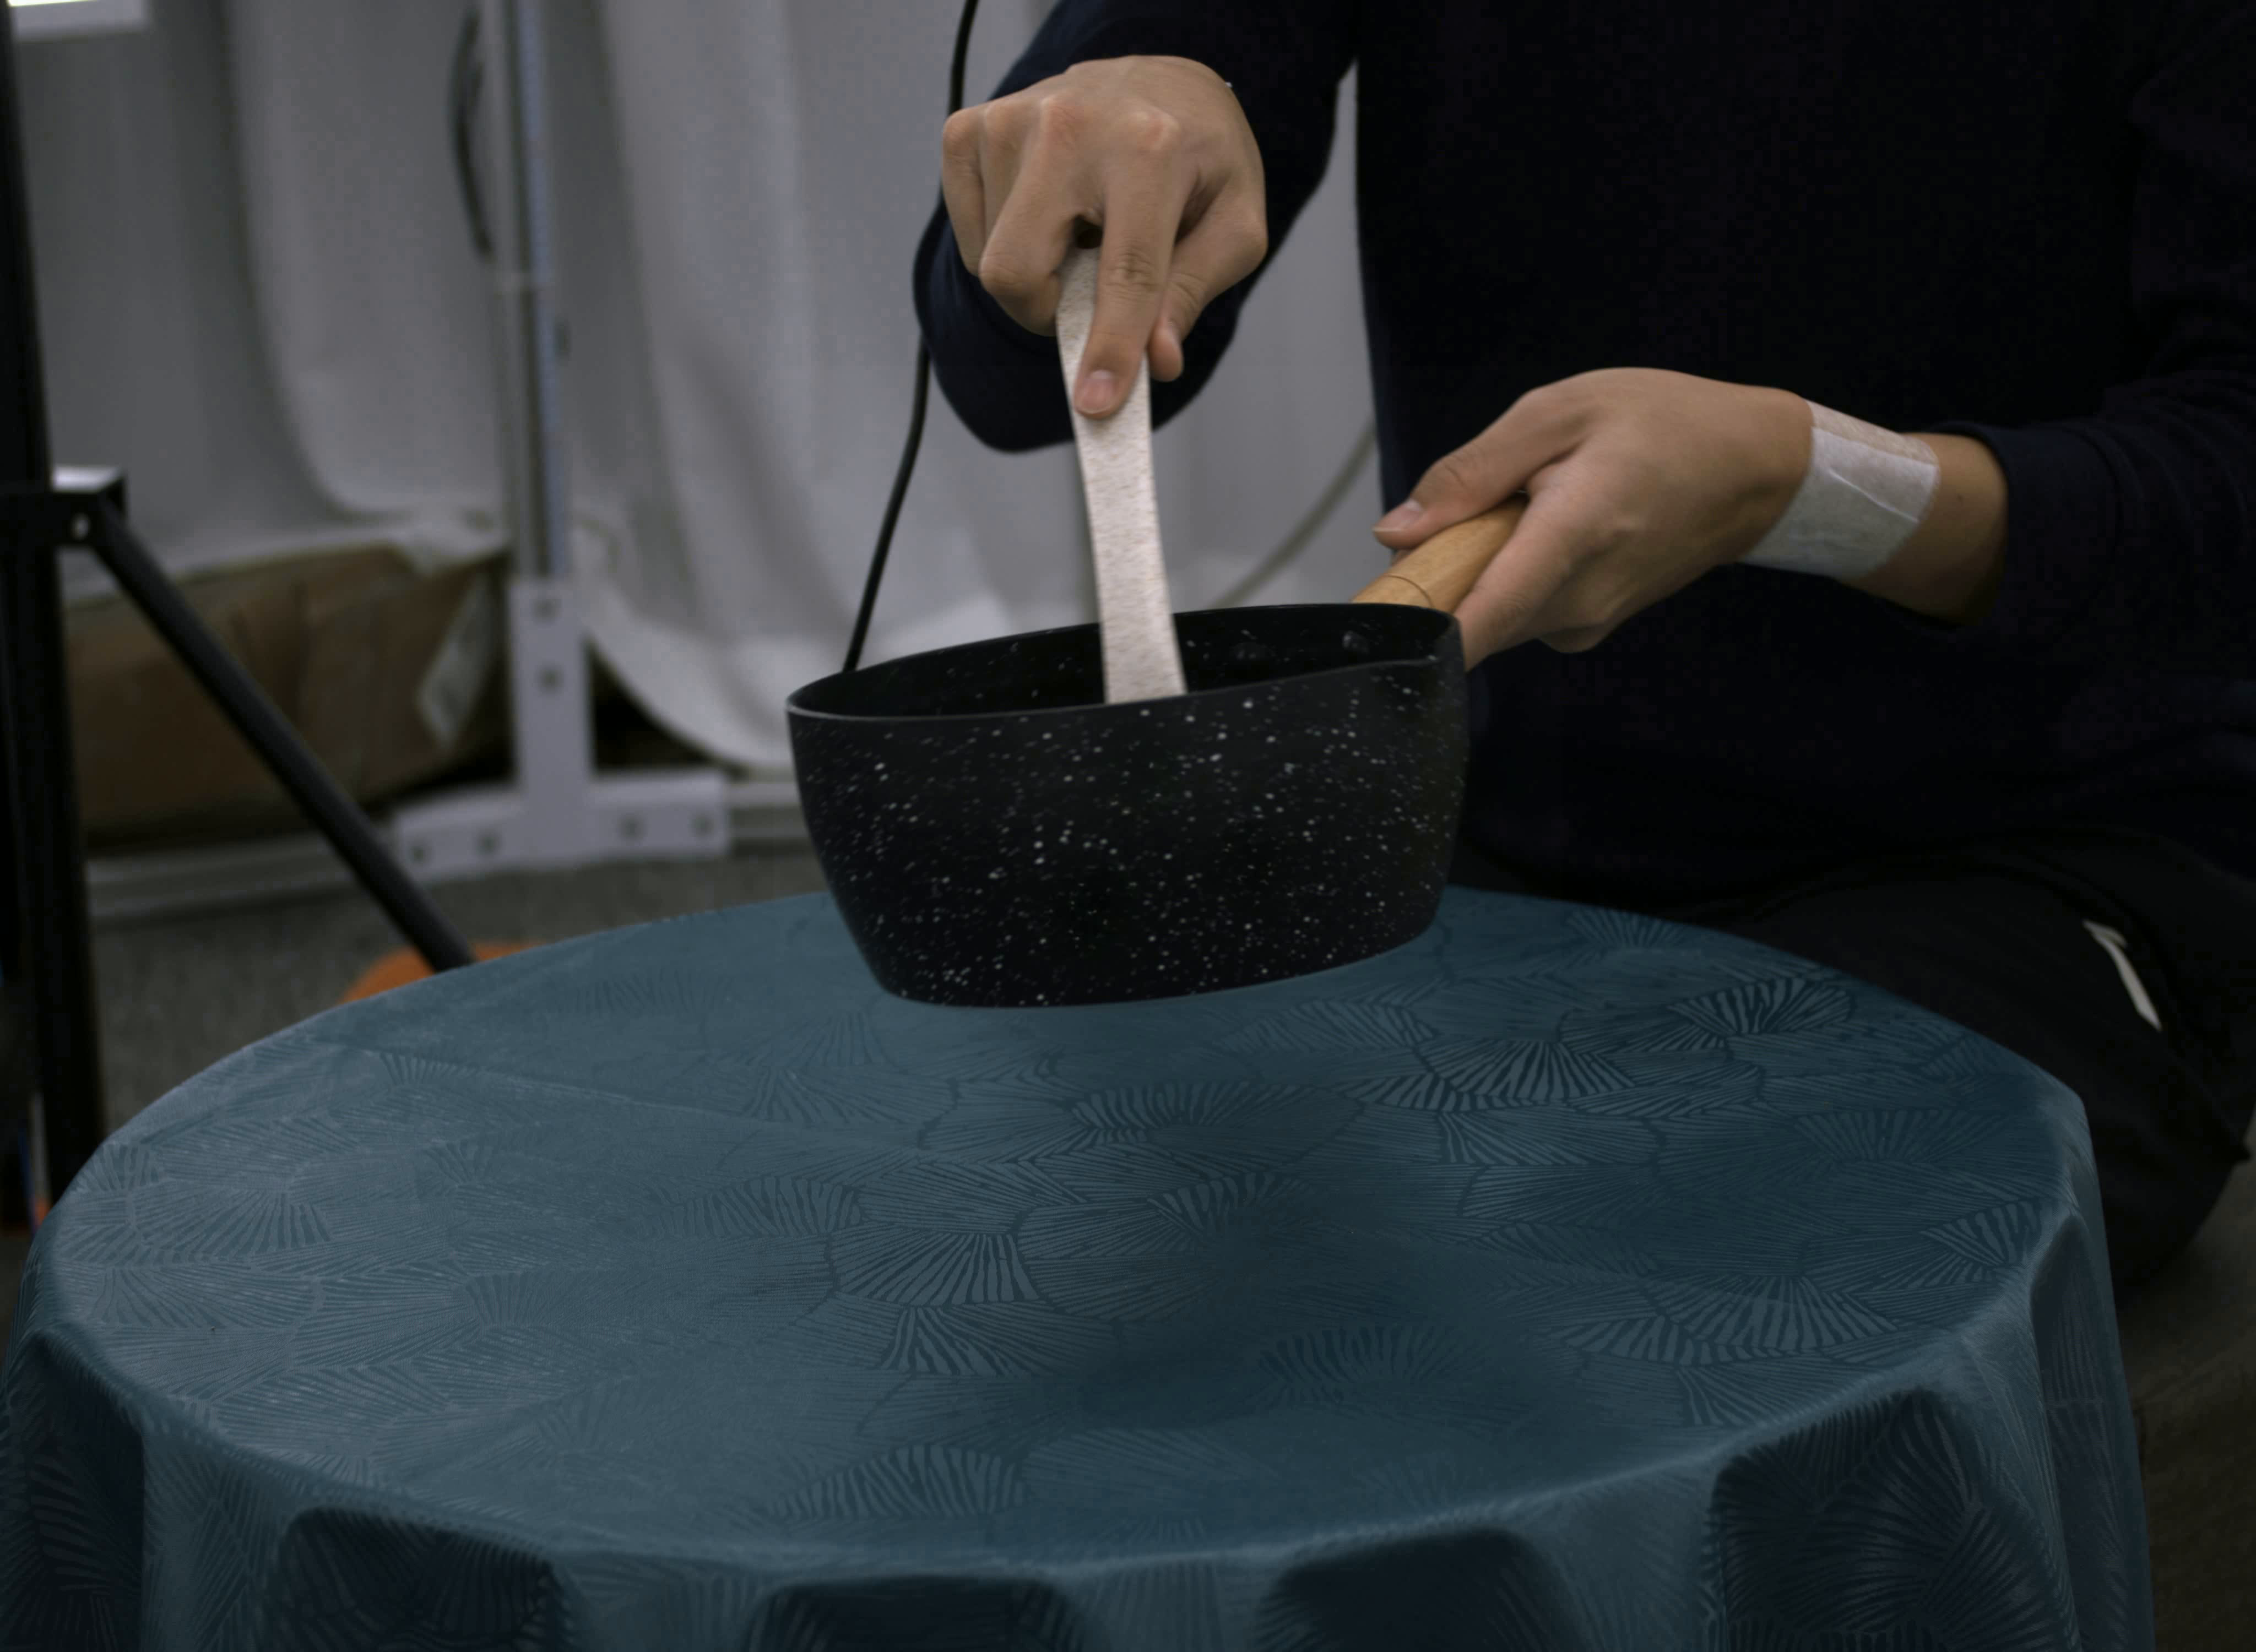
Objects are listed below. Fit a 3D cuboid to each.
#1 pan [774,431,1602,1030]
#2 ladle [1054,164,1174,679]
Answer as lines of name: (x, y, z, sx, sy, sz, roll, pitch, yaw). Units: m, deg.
pan: (0.044, -0.031, 1.494, 0.211, 0.108, 0.336, -3, 11, 36)
ladle: (-0.004, -0.086, 1.466, 0.089, 0.278, 0.068, -10, -30, 9)
